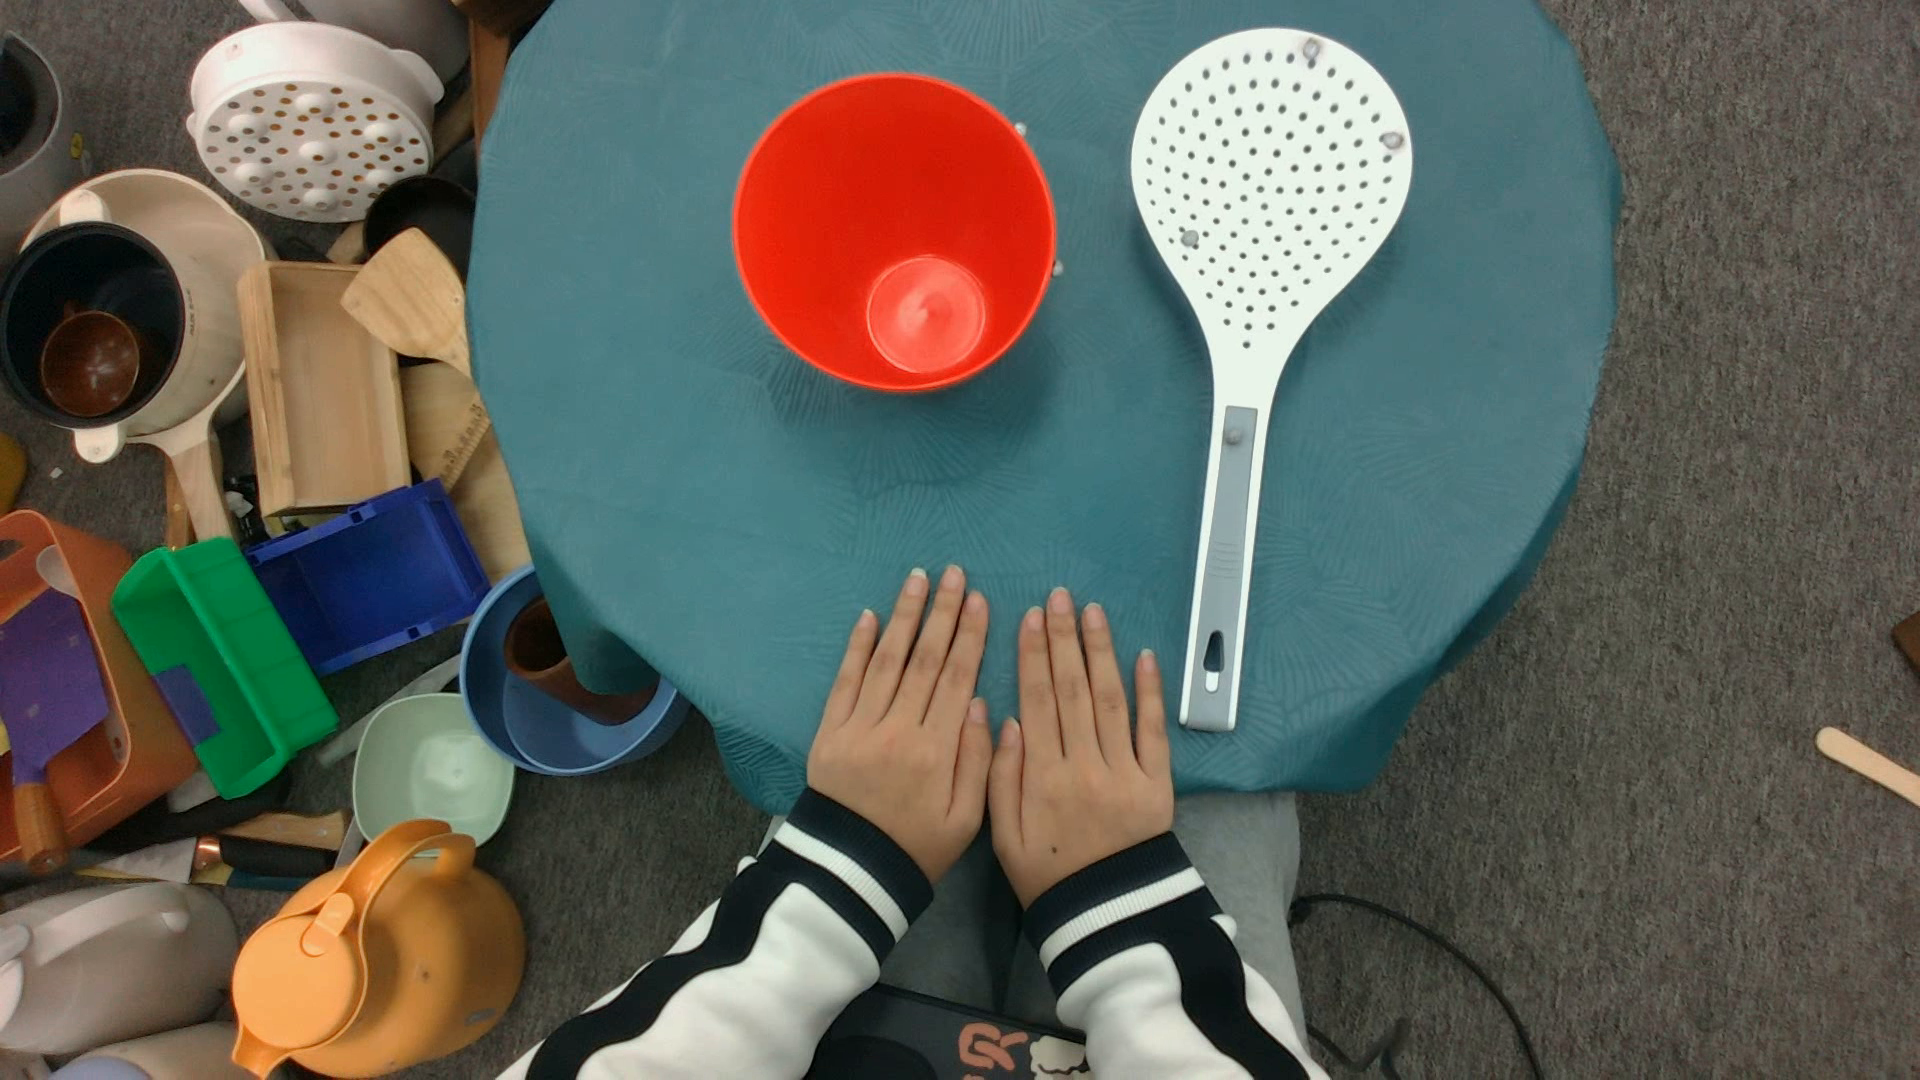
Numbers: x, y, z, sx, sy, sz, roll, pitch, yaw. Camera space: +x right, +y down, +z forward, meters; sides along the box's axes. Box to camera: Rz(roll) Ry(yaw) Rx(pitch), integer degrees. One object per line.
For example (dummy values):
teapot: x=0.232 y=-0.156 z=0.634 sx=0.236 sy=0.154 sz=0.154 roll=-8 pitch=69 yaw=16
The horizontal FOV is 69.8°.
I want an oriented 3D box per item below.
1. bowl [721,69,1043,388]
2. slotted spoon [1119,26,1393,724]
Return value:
bowl: x=-0.034 y=-0.137 z=0.672 sx=0.148 sy=0.104 sz=0.148 roll=0 pitch=77 yaw=0
slotted spoon: x=0.134 y=-0.085 z=0.682 sx=0.136 sy=0.045 sz=0.350 roll=7 pitch=79 yaw=5
